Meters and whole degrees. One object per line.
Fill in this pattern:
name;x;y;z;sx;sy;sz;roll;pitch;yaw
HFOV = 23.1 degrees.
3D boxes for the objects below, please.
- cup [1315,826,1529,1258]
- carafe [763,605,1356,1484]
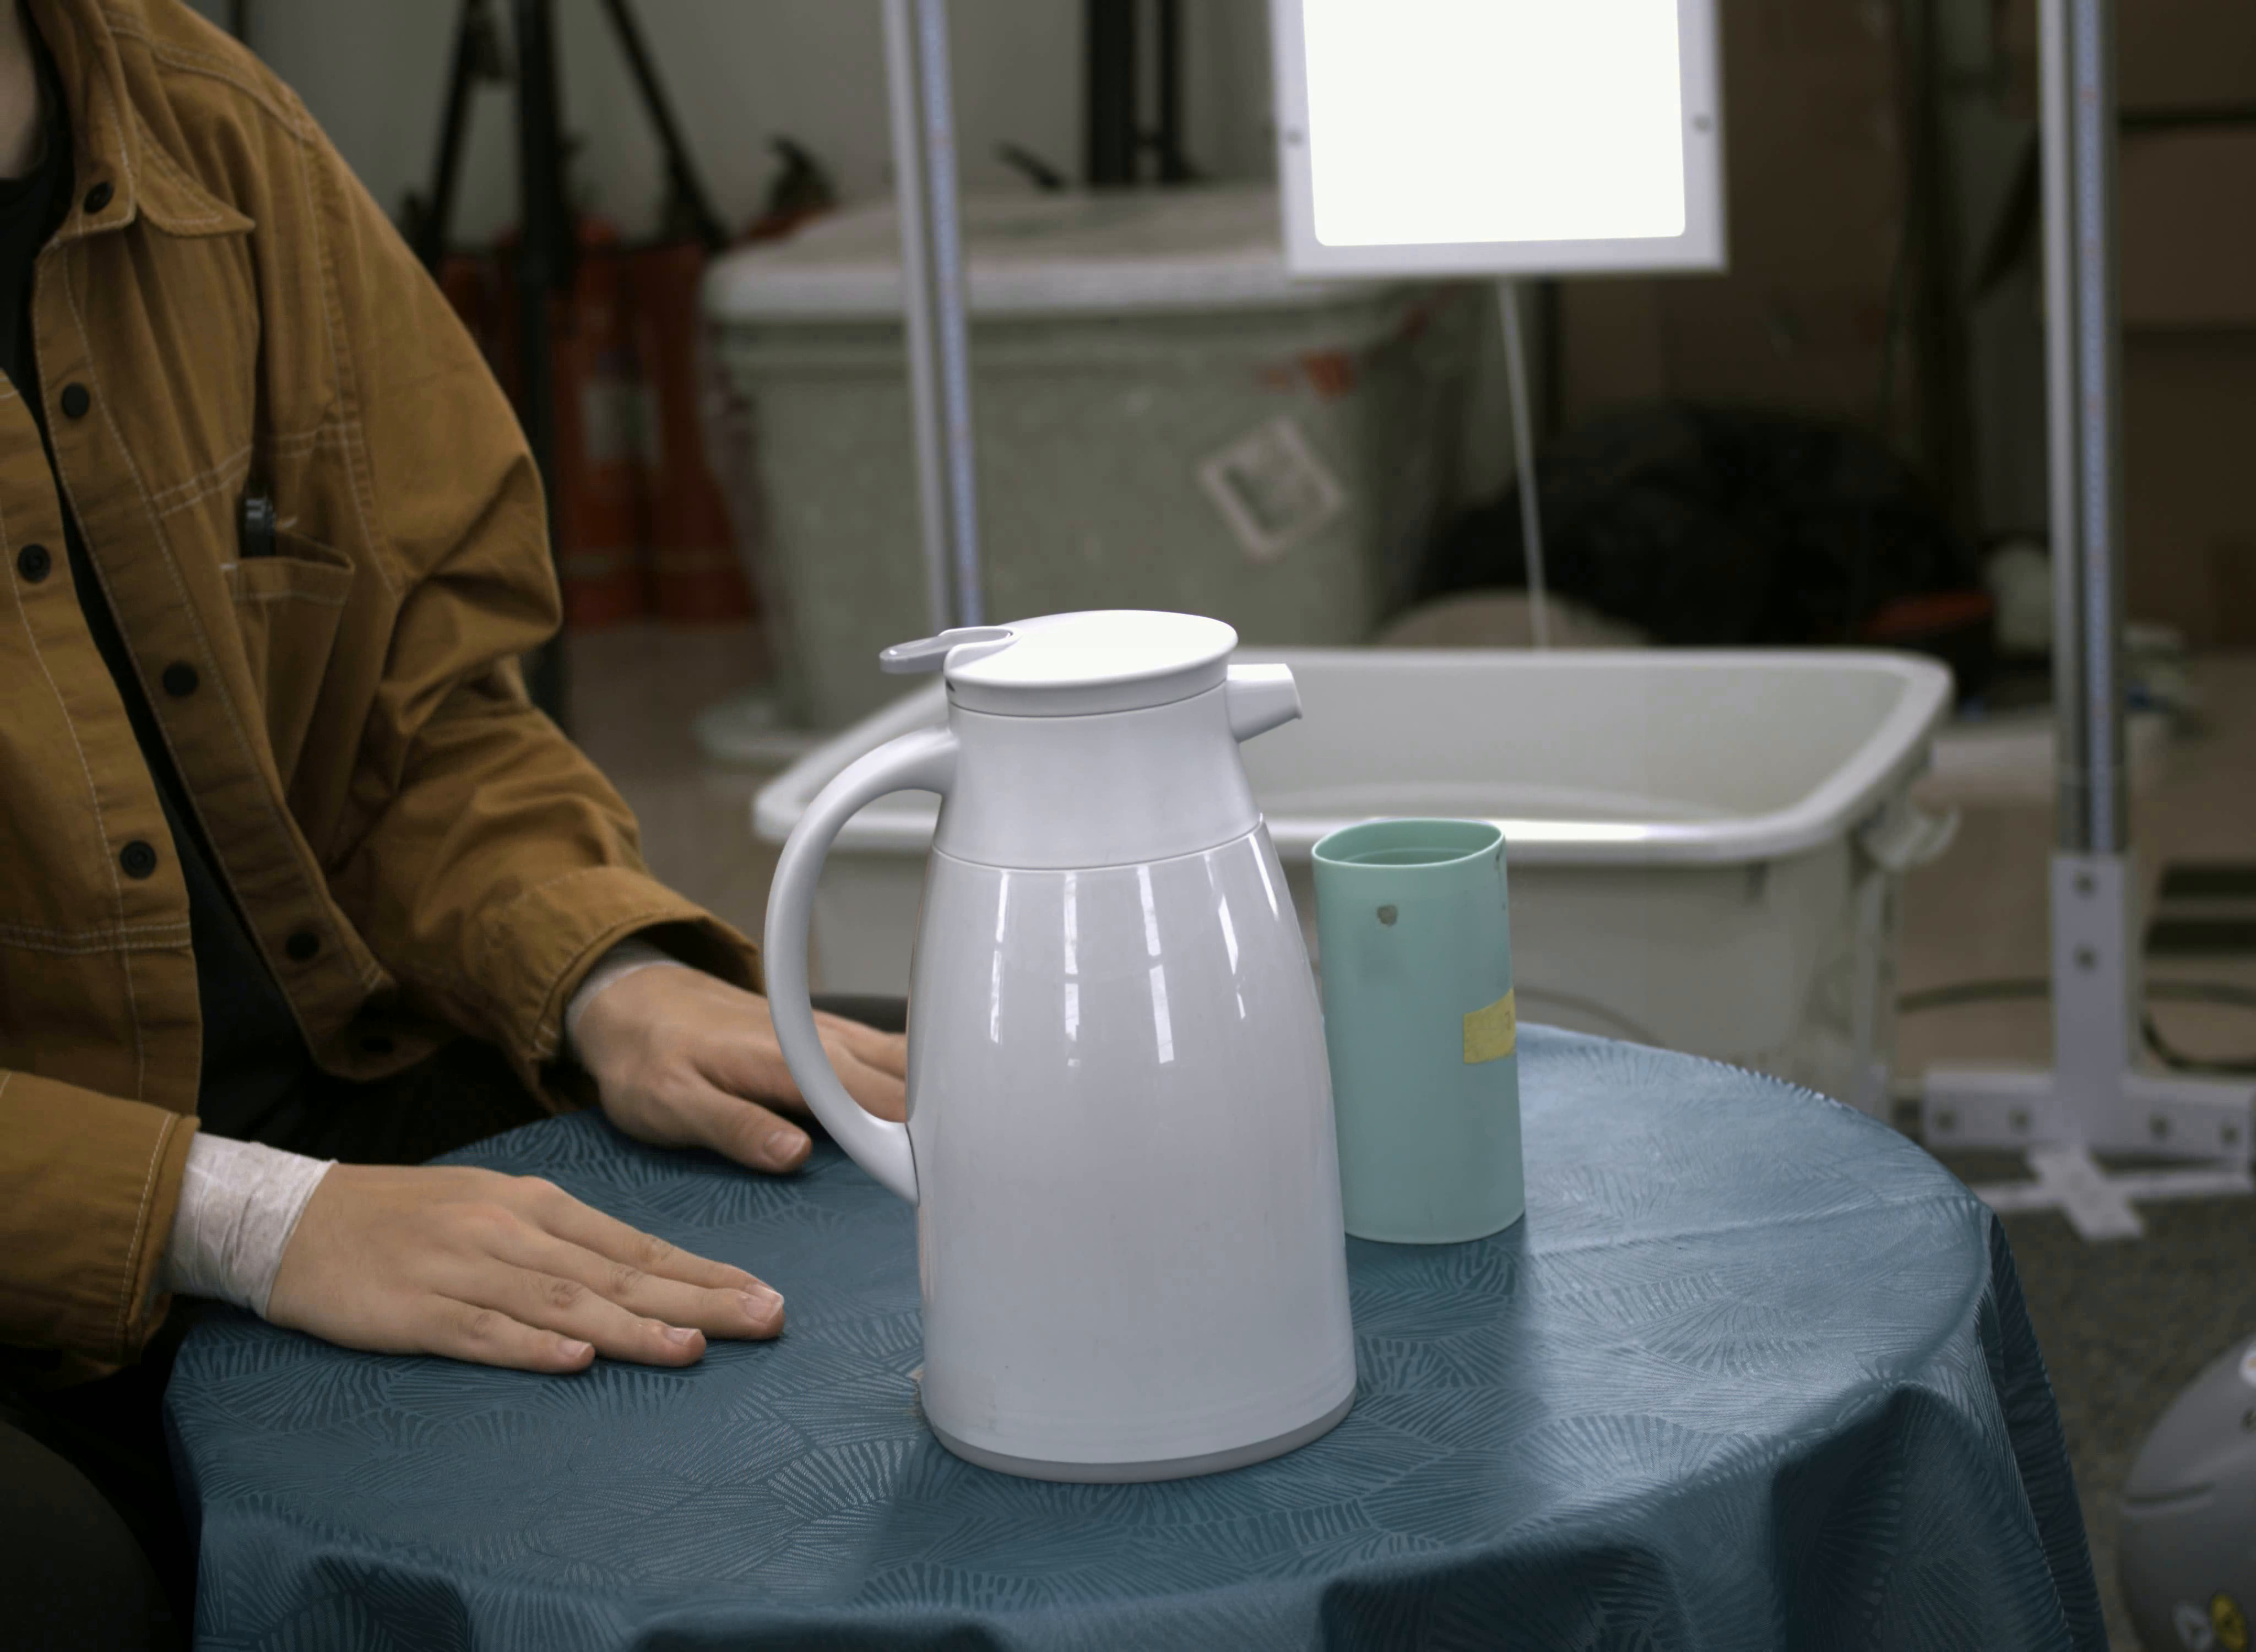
cup;0.098;0.071;1.829;0.066;0.133;0.066;-4;14;0
carafe;-0.023;0.061;1.654;0.166;0.249;0.133;-6;14;-4
